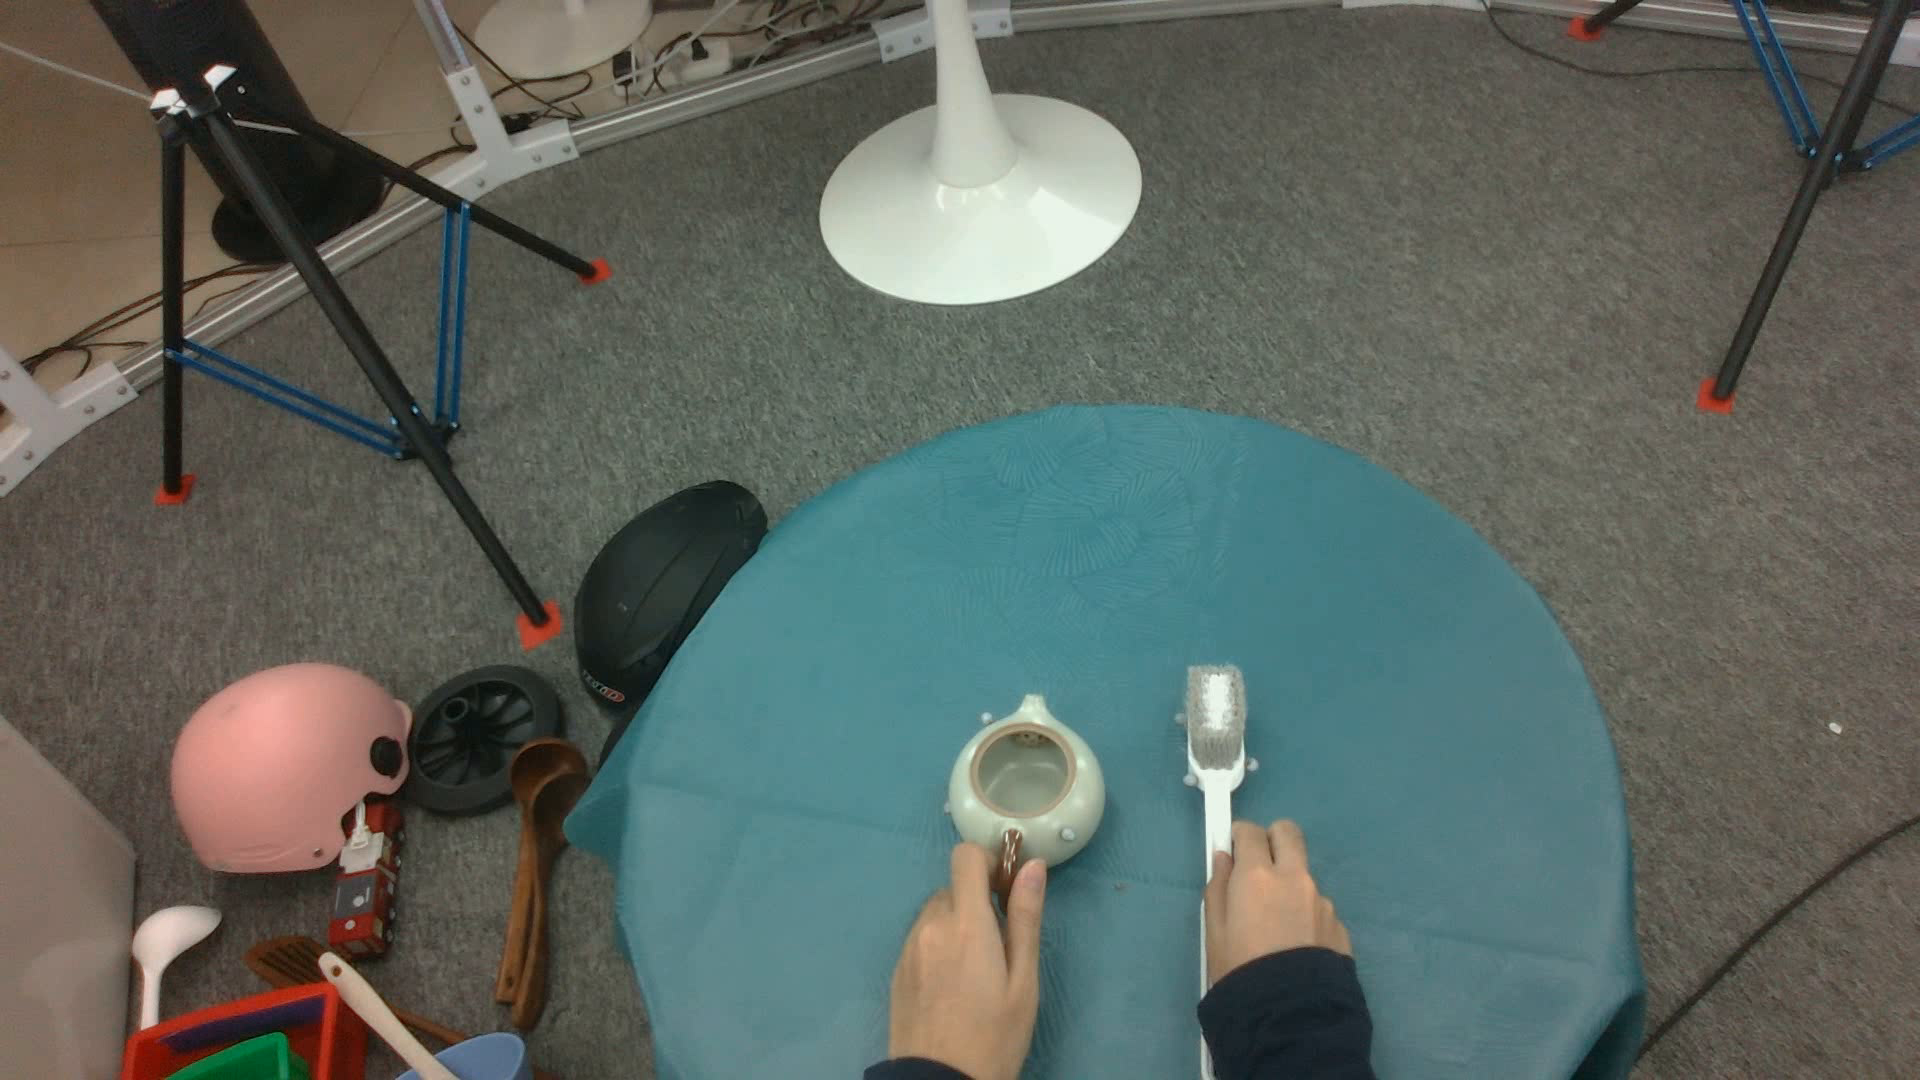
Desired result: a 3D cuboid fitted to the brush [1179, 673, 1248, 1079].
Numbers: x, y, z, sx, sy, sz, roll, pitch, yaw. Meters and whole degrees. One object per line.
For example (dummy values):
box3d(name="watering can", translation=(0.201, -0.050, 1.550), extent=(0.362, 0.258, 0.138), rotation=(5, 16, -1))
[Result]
box3d(name="brush", translation=(0.143, 0.182, 0.780), extent=(0.034, 0.050, 0.245), rotation=(4, 52, 8))

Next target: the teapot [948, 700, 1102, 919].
box3d(name="teapot", translation=(0.037, 0.160, 0.812), extent=(0.092, 0.059, 0.128), rotation=(3, 52, 8))
